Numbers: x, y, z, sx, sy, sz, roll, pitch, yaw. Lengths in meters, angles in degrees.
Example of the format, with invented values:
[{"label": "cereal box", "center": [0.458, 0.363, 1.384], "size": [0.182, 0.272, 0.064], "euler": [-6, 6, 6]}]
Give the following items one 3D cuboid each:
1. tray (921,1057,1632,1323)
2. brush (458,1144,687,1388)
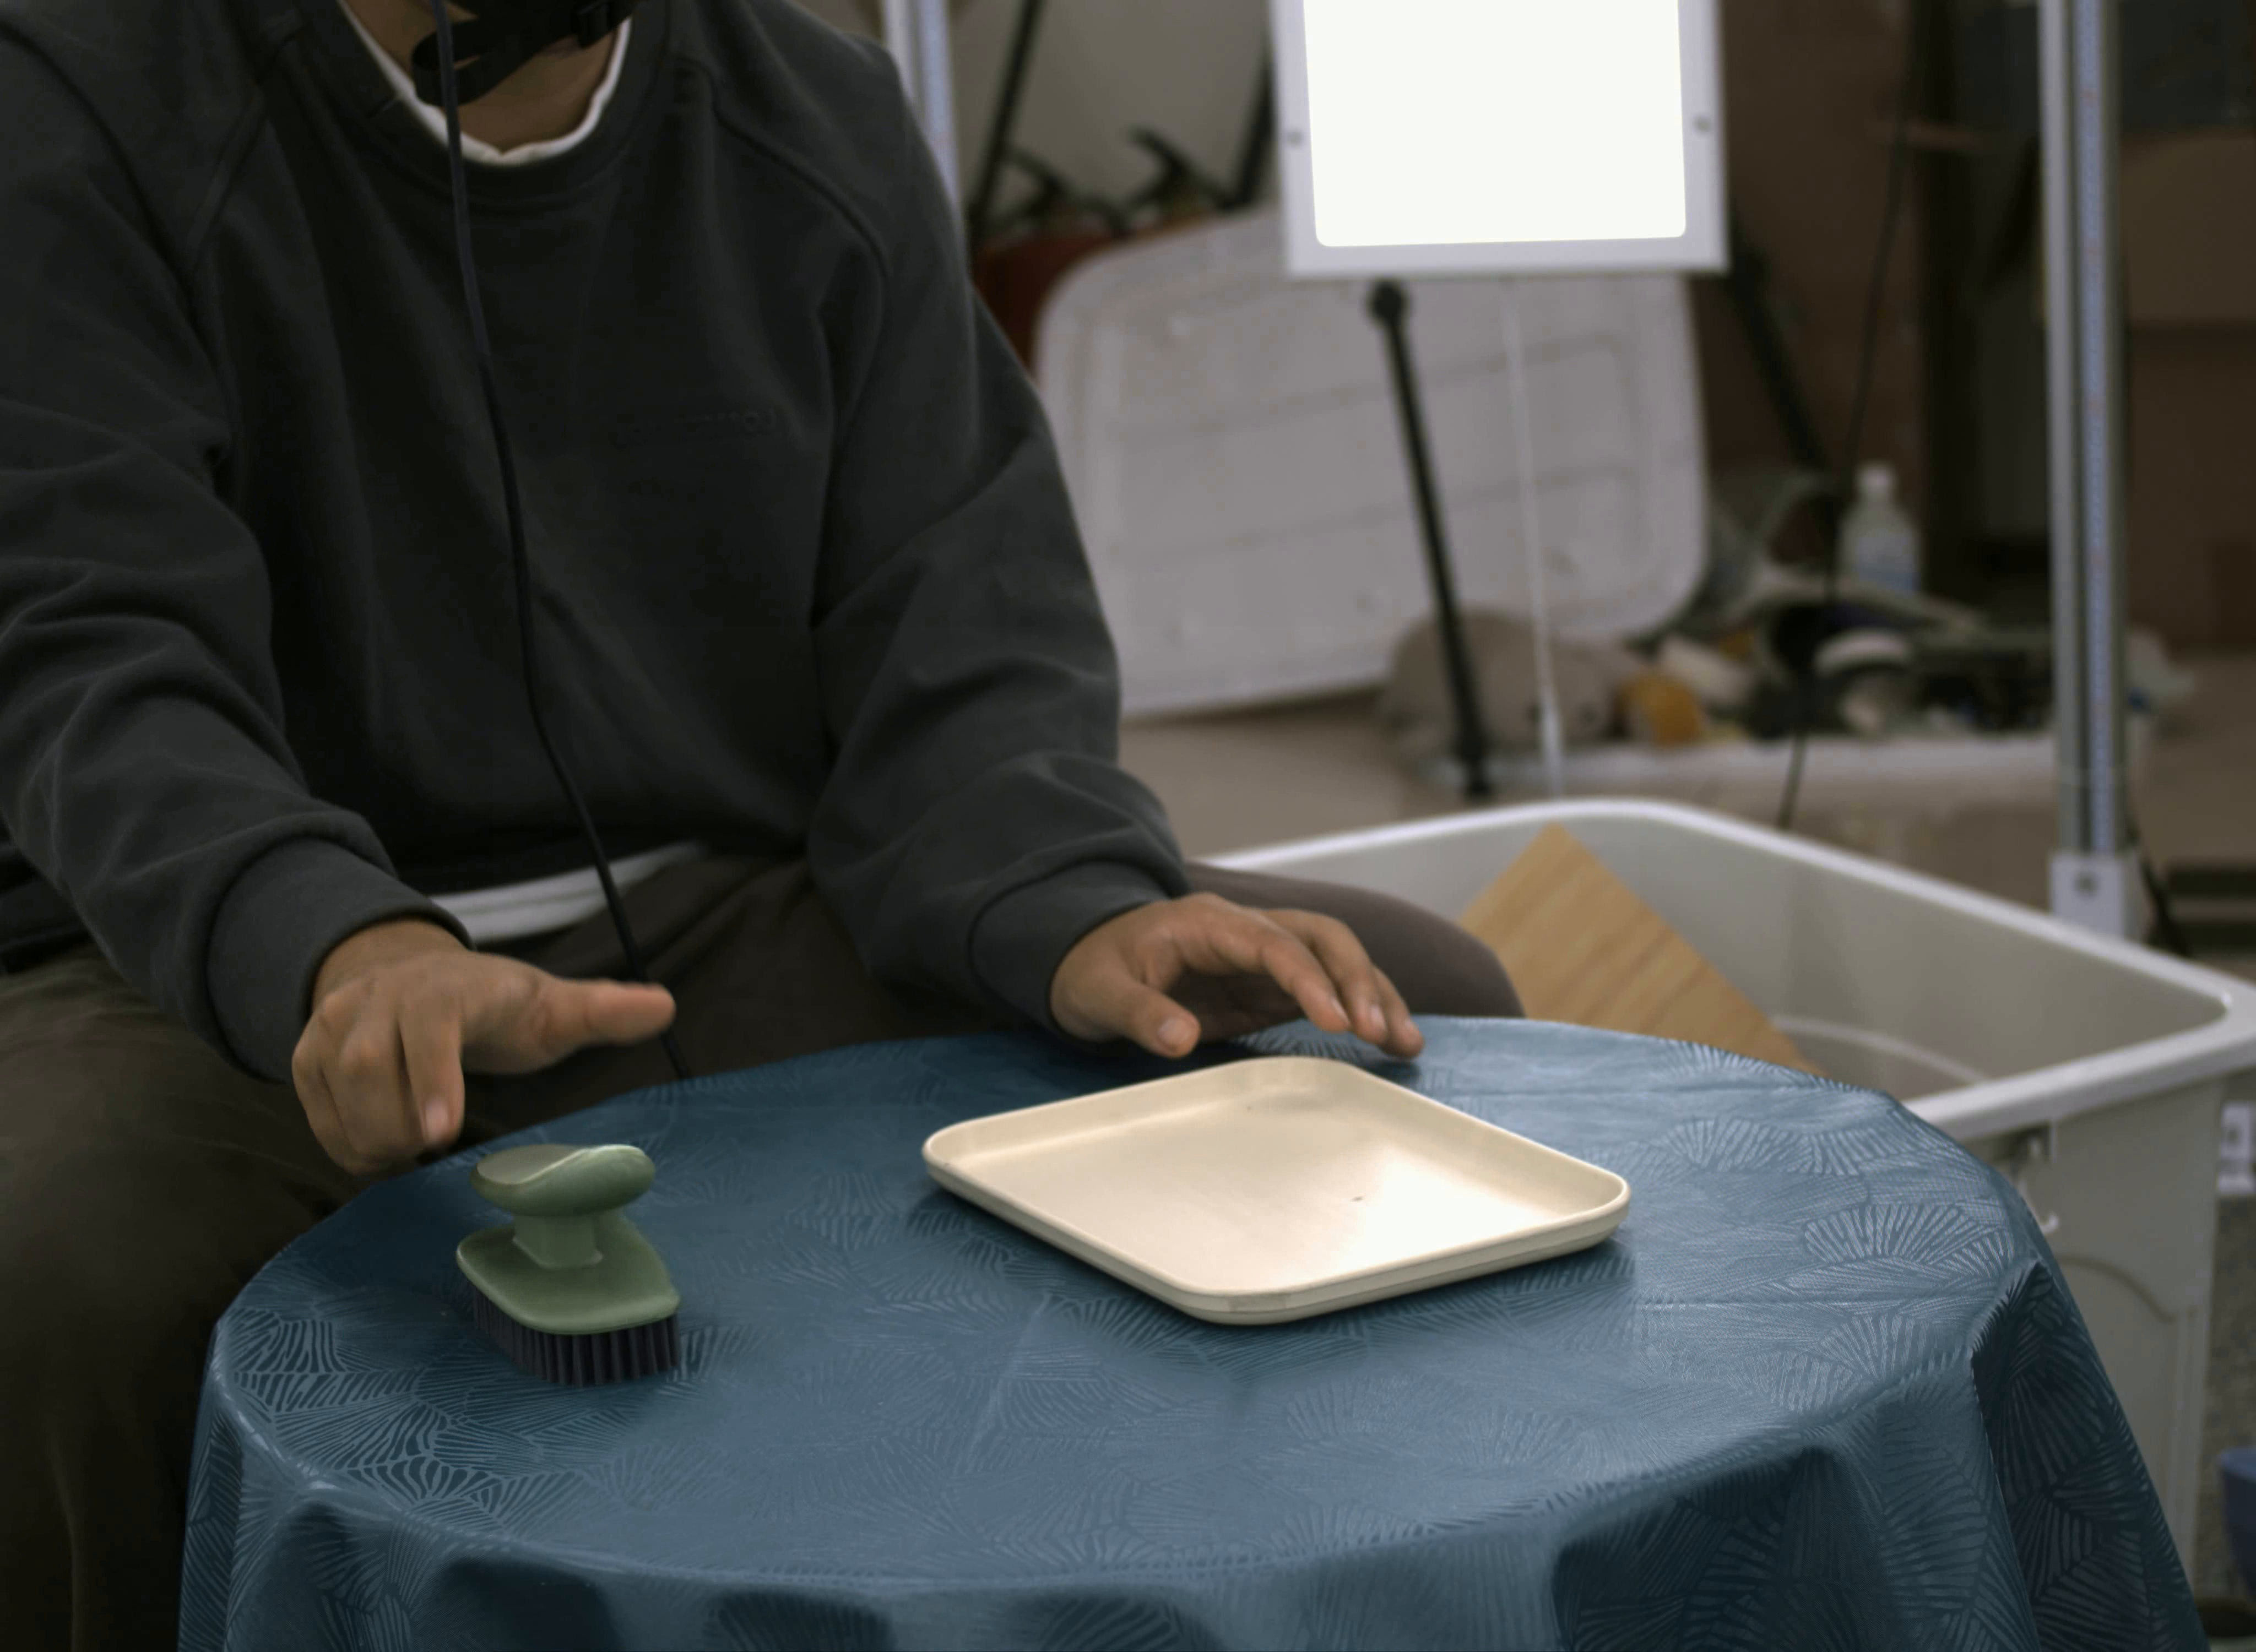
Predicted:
[{"label": "tray", "center": [0.048, 0.122, 1.862], "size": [0.168, 0.017, 0.244], "euler": [-11, 14, -25]}, {"label": "brush", "center": [-0.181, 0.140, 1.792], "size": [0.058, 0.076, 0.125], "euler": [-8, 1, -21]}]
